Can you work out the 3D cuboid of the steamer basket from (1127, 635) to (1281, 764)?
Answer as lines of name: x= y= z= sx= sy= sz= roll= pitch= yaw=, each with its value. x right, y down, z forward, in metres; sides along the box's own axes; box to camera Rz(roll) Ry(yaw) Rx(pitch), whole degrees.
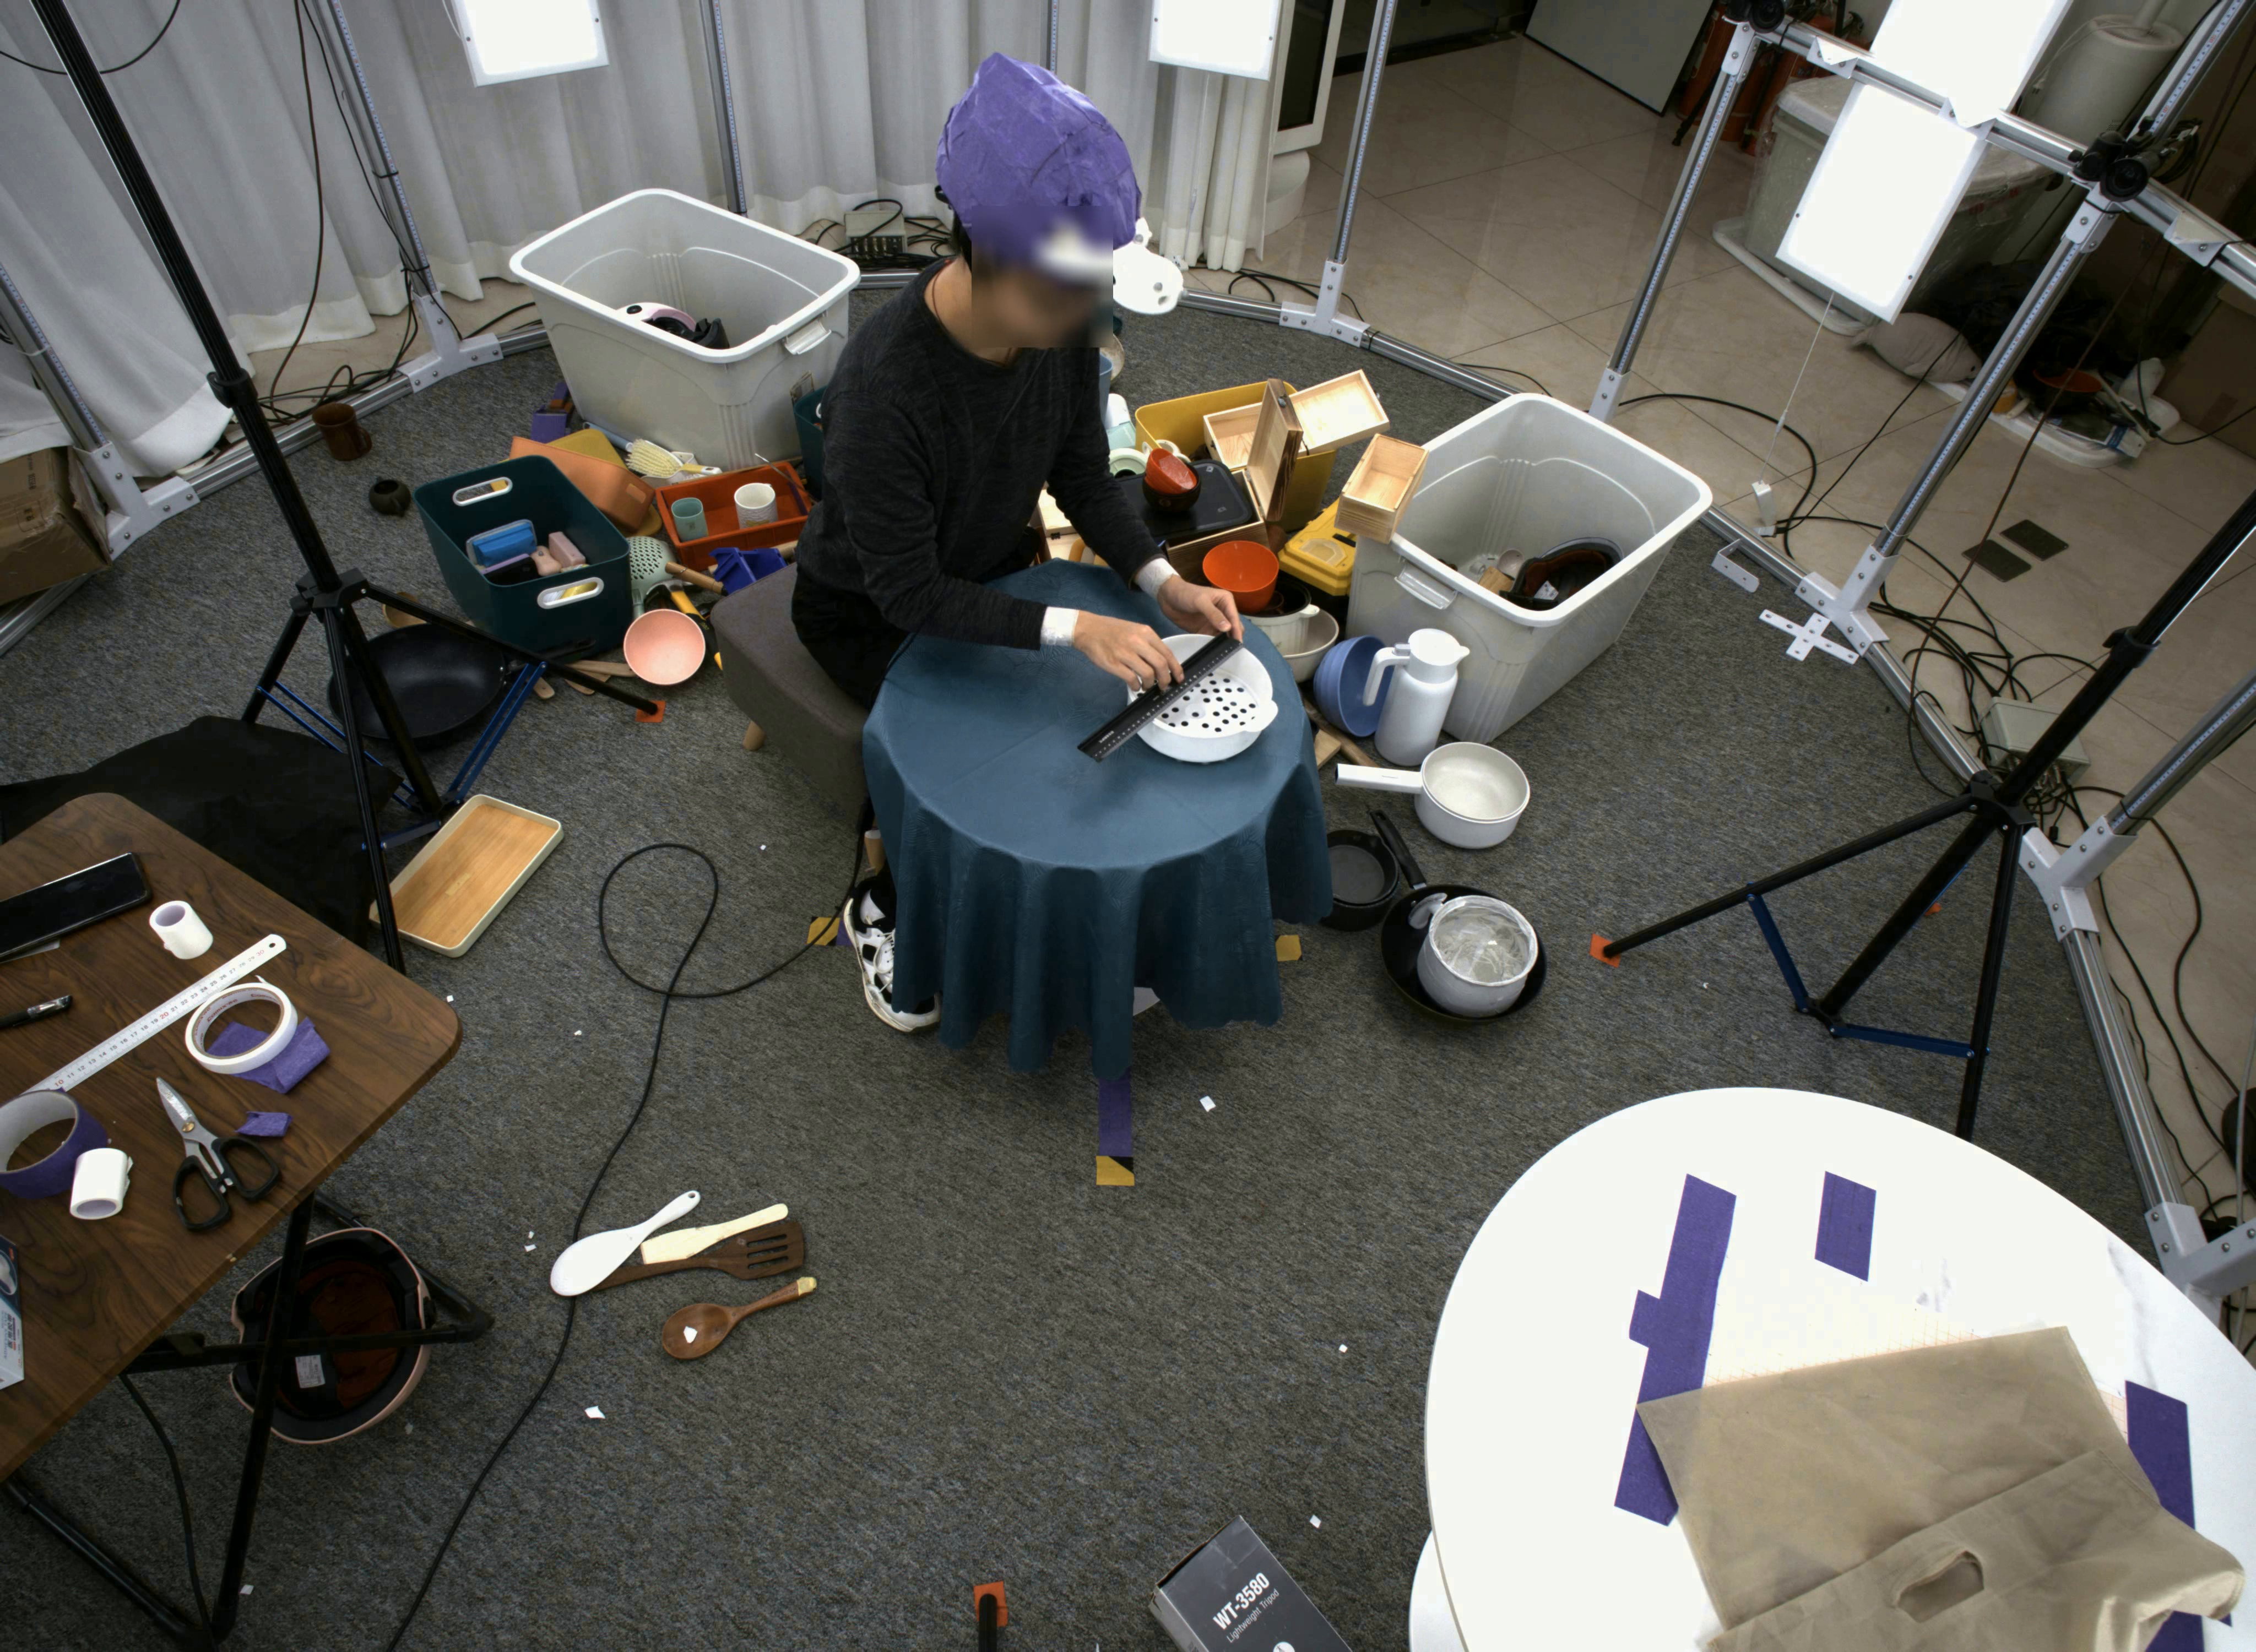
steamer basket: x=0.101 y=-0.175 z=1.784 sx=0.233 sy=0.067 sz=0.205 roll=30 pitch=53 yaw=18

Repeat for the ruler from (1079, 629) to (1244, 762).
ruler: x=0.050 y=-0.182 z=1.735 sx=0.040 sy=0.017 sz=0.316 roll=37 pitch=56 yaw=20
